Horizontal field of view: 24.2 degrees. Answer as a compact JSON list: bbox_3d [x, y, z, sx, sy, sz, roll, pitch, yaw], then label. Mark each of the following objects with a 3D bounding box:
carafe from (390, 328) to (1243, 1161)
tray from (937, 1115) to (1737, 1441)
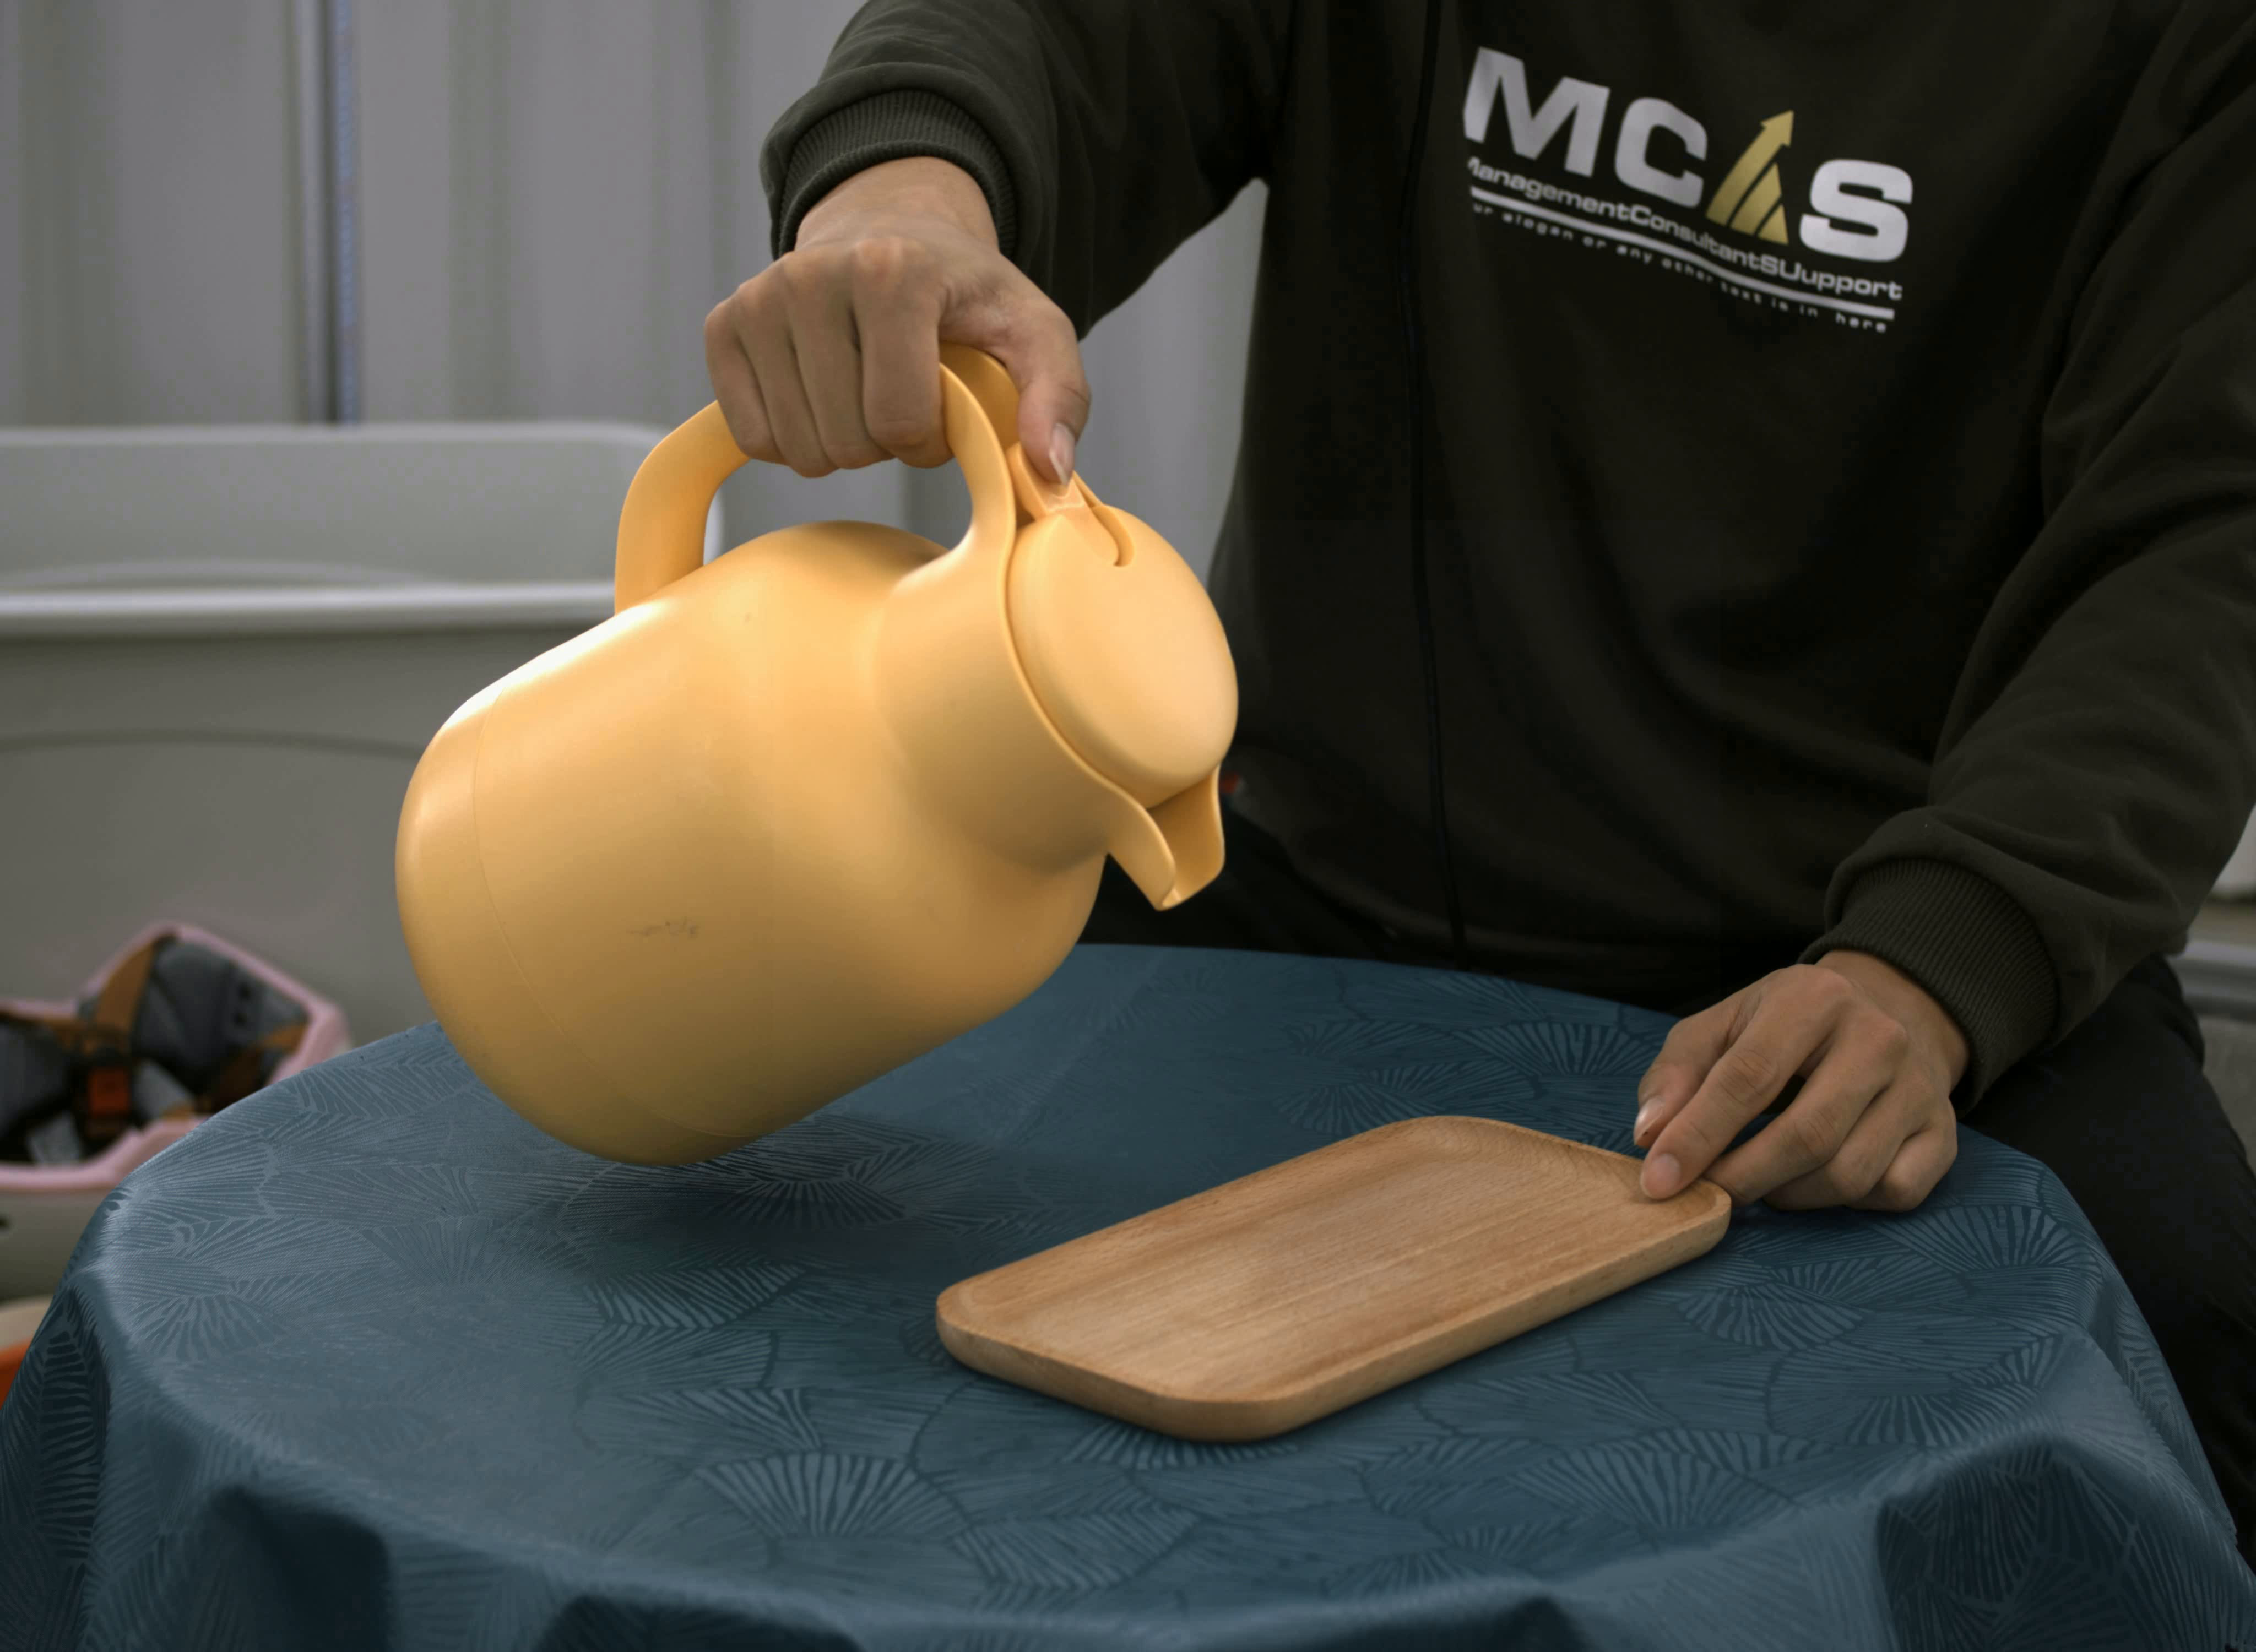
[{"bbox_3d":[-0.093,-0.028,1.574,0.259,0.202,0.164,-25,-8,32],"label":"carafe"},{"bbox_3d":[0.064,0.130,1.542,0.129,0.023,0.252,17,21,39],"label":"tray"}]
